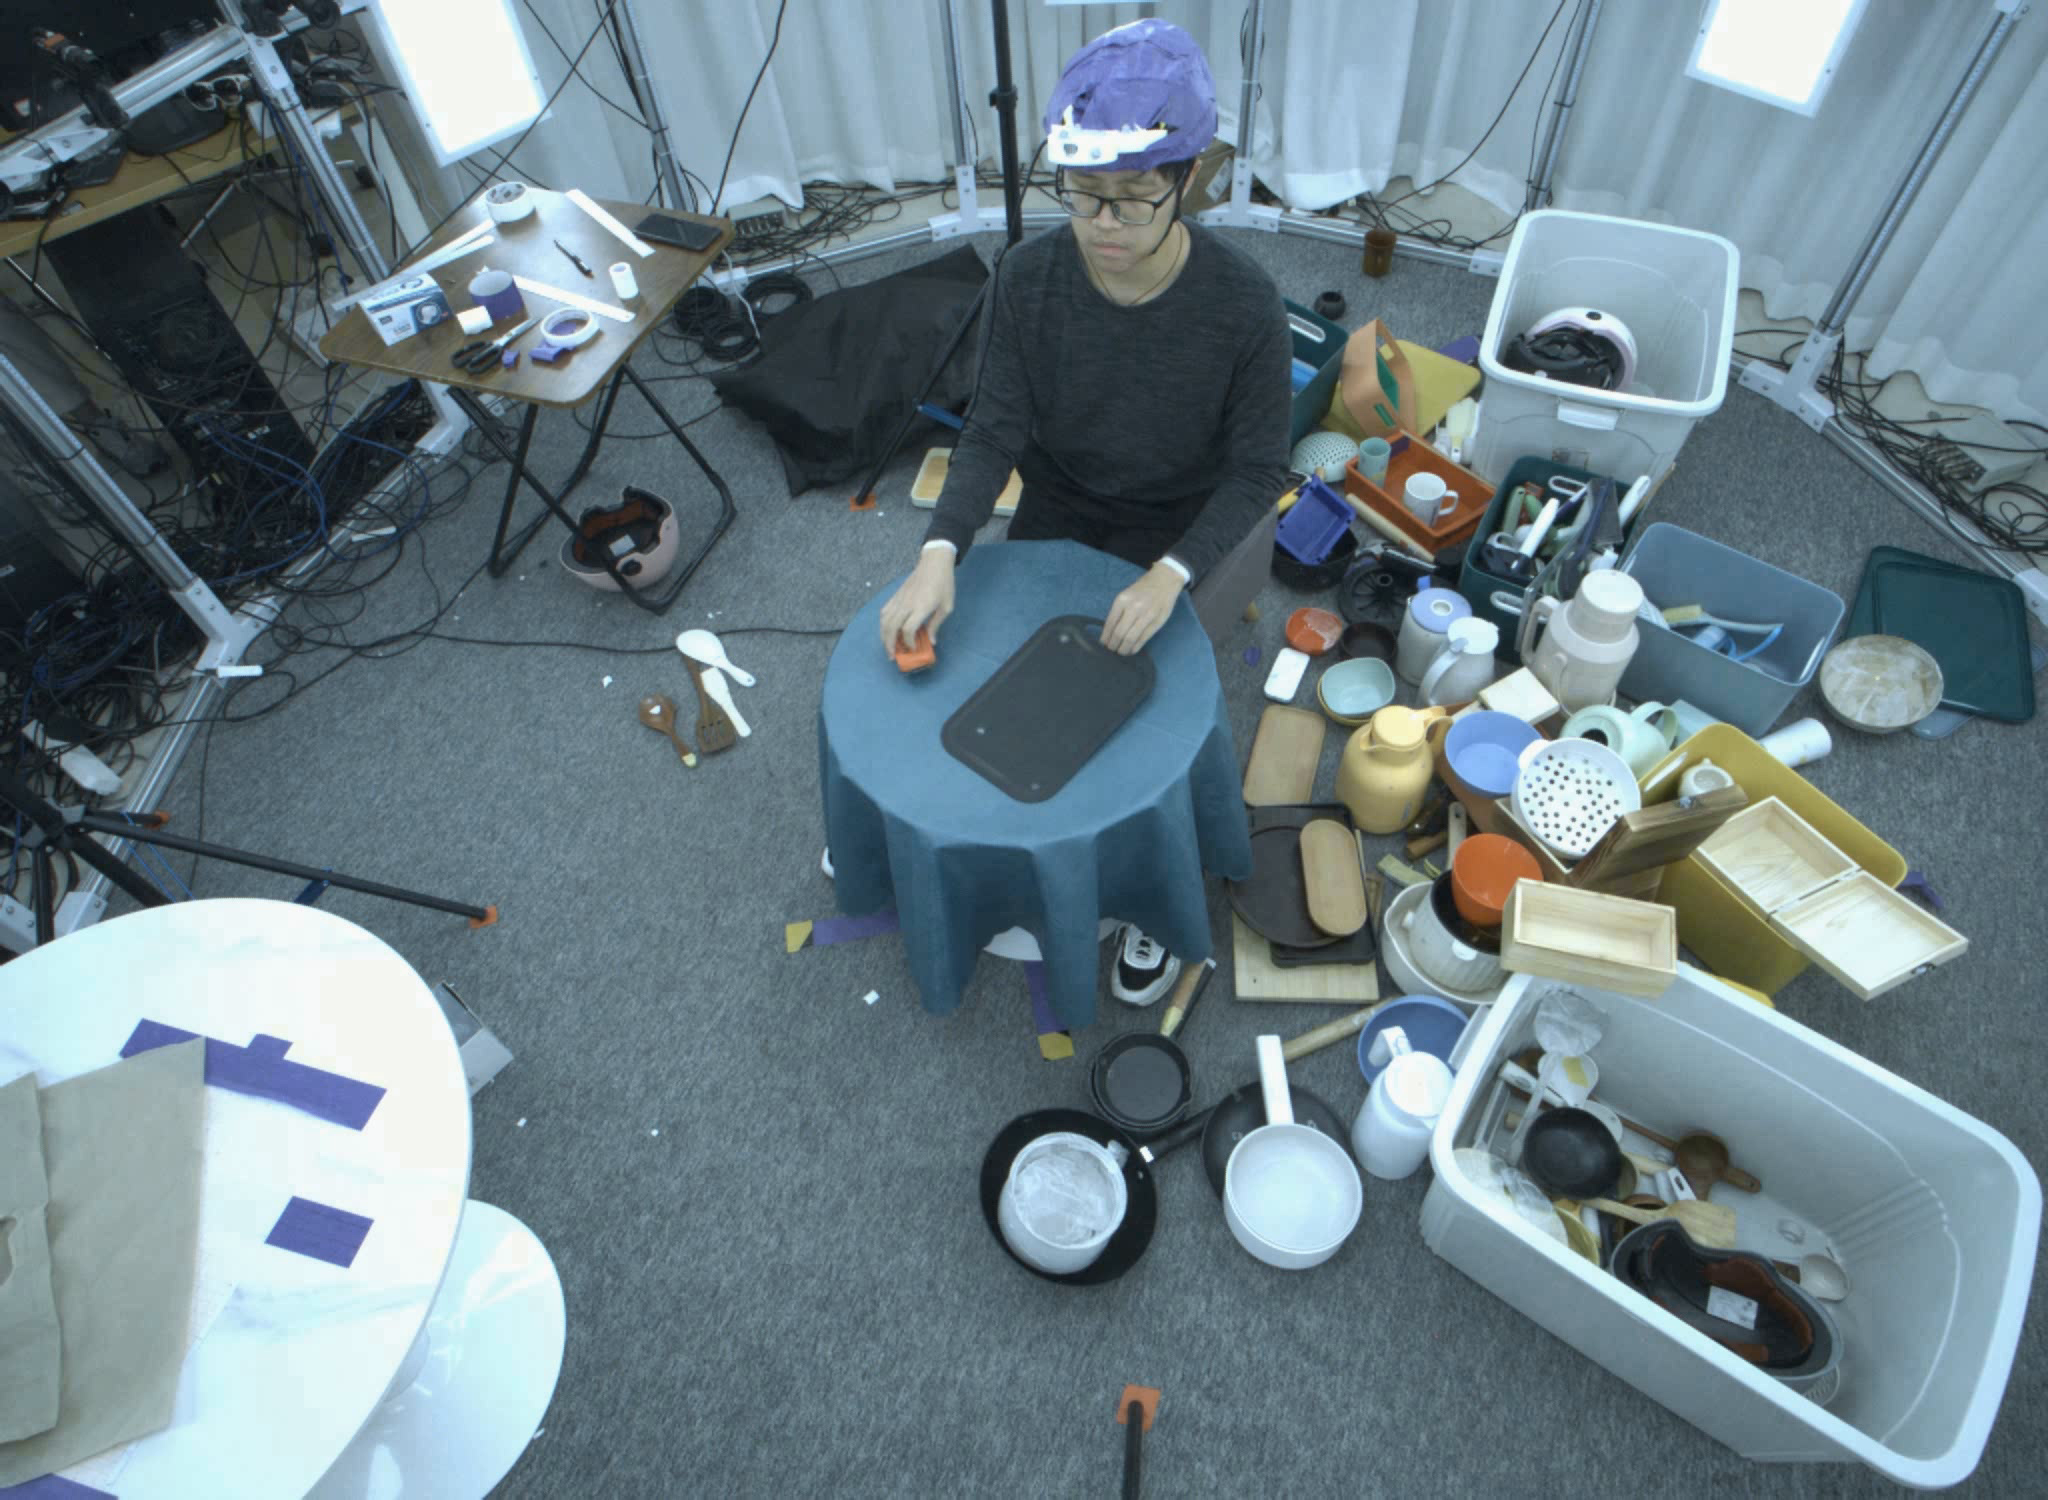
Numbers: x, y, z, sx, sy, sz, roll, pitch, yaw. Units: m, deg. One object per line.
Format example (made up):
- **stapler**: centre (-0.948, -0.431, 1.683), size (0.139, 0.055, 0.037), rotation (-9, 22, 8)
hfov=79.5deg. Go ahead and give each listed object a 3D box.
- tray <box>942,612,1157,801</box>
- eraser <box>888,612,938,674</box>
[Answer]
- **tray**: centre (0.043, -0.077, 1.821), size (0.207, 0.010, 0.327), rotation (36, 68, 23)
- **eraser**: centre (-0.172, -0.165, 1.876), size (0.059, 0.023, 0.106), rotation (-20, 47, -3)
